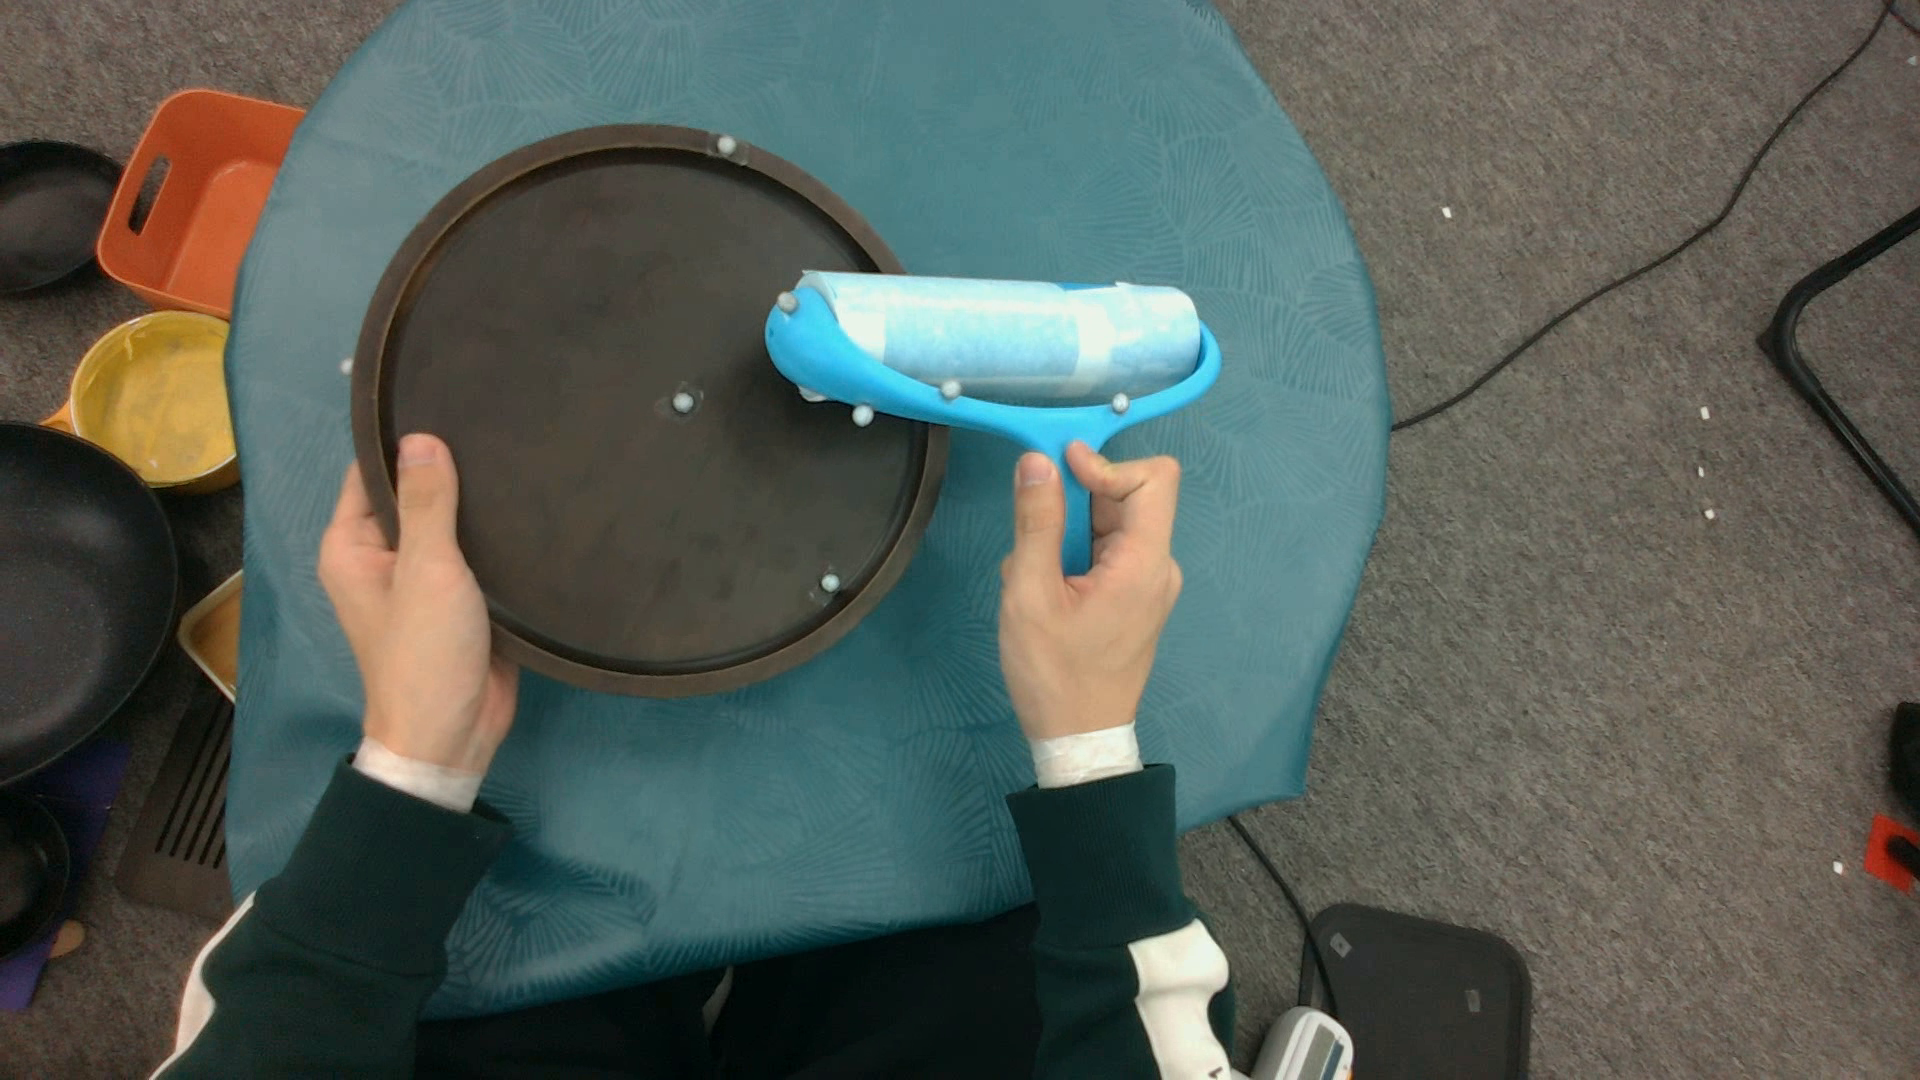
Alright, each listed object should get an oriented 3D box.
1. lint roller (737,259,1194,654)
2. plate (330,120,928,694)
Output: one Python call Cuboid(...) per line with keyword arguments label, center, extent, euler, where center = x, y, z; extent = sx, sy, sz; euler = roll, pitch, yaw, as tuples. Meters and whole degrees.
Cuboid(label="lint roller", center=(0.024, -0.043, 0.612), extent=(0.229, 0.067, 0.180), euler=(-10, 77, -35))
Cuboid(label="plate", center=(-0.138, -0.059, 0.607), extent=(0.255, 0.029, 0.255), euler=(2, 83, -17))
